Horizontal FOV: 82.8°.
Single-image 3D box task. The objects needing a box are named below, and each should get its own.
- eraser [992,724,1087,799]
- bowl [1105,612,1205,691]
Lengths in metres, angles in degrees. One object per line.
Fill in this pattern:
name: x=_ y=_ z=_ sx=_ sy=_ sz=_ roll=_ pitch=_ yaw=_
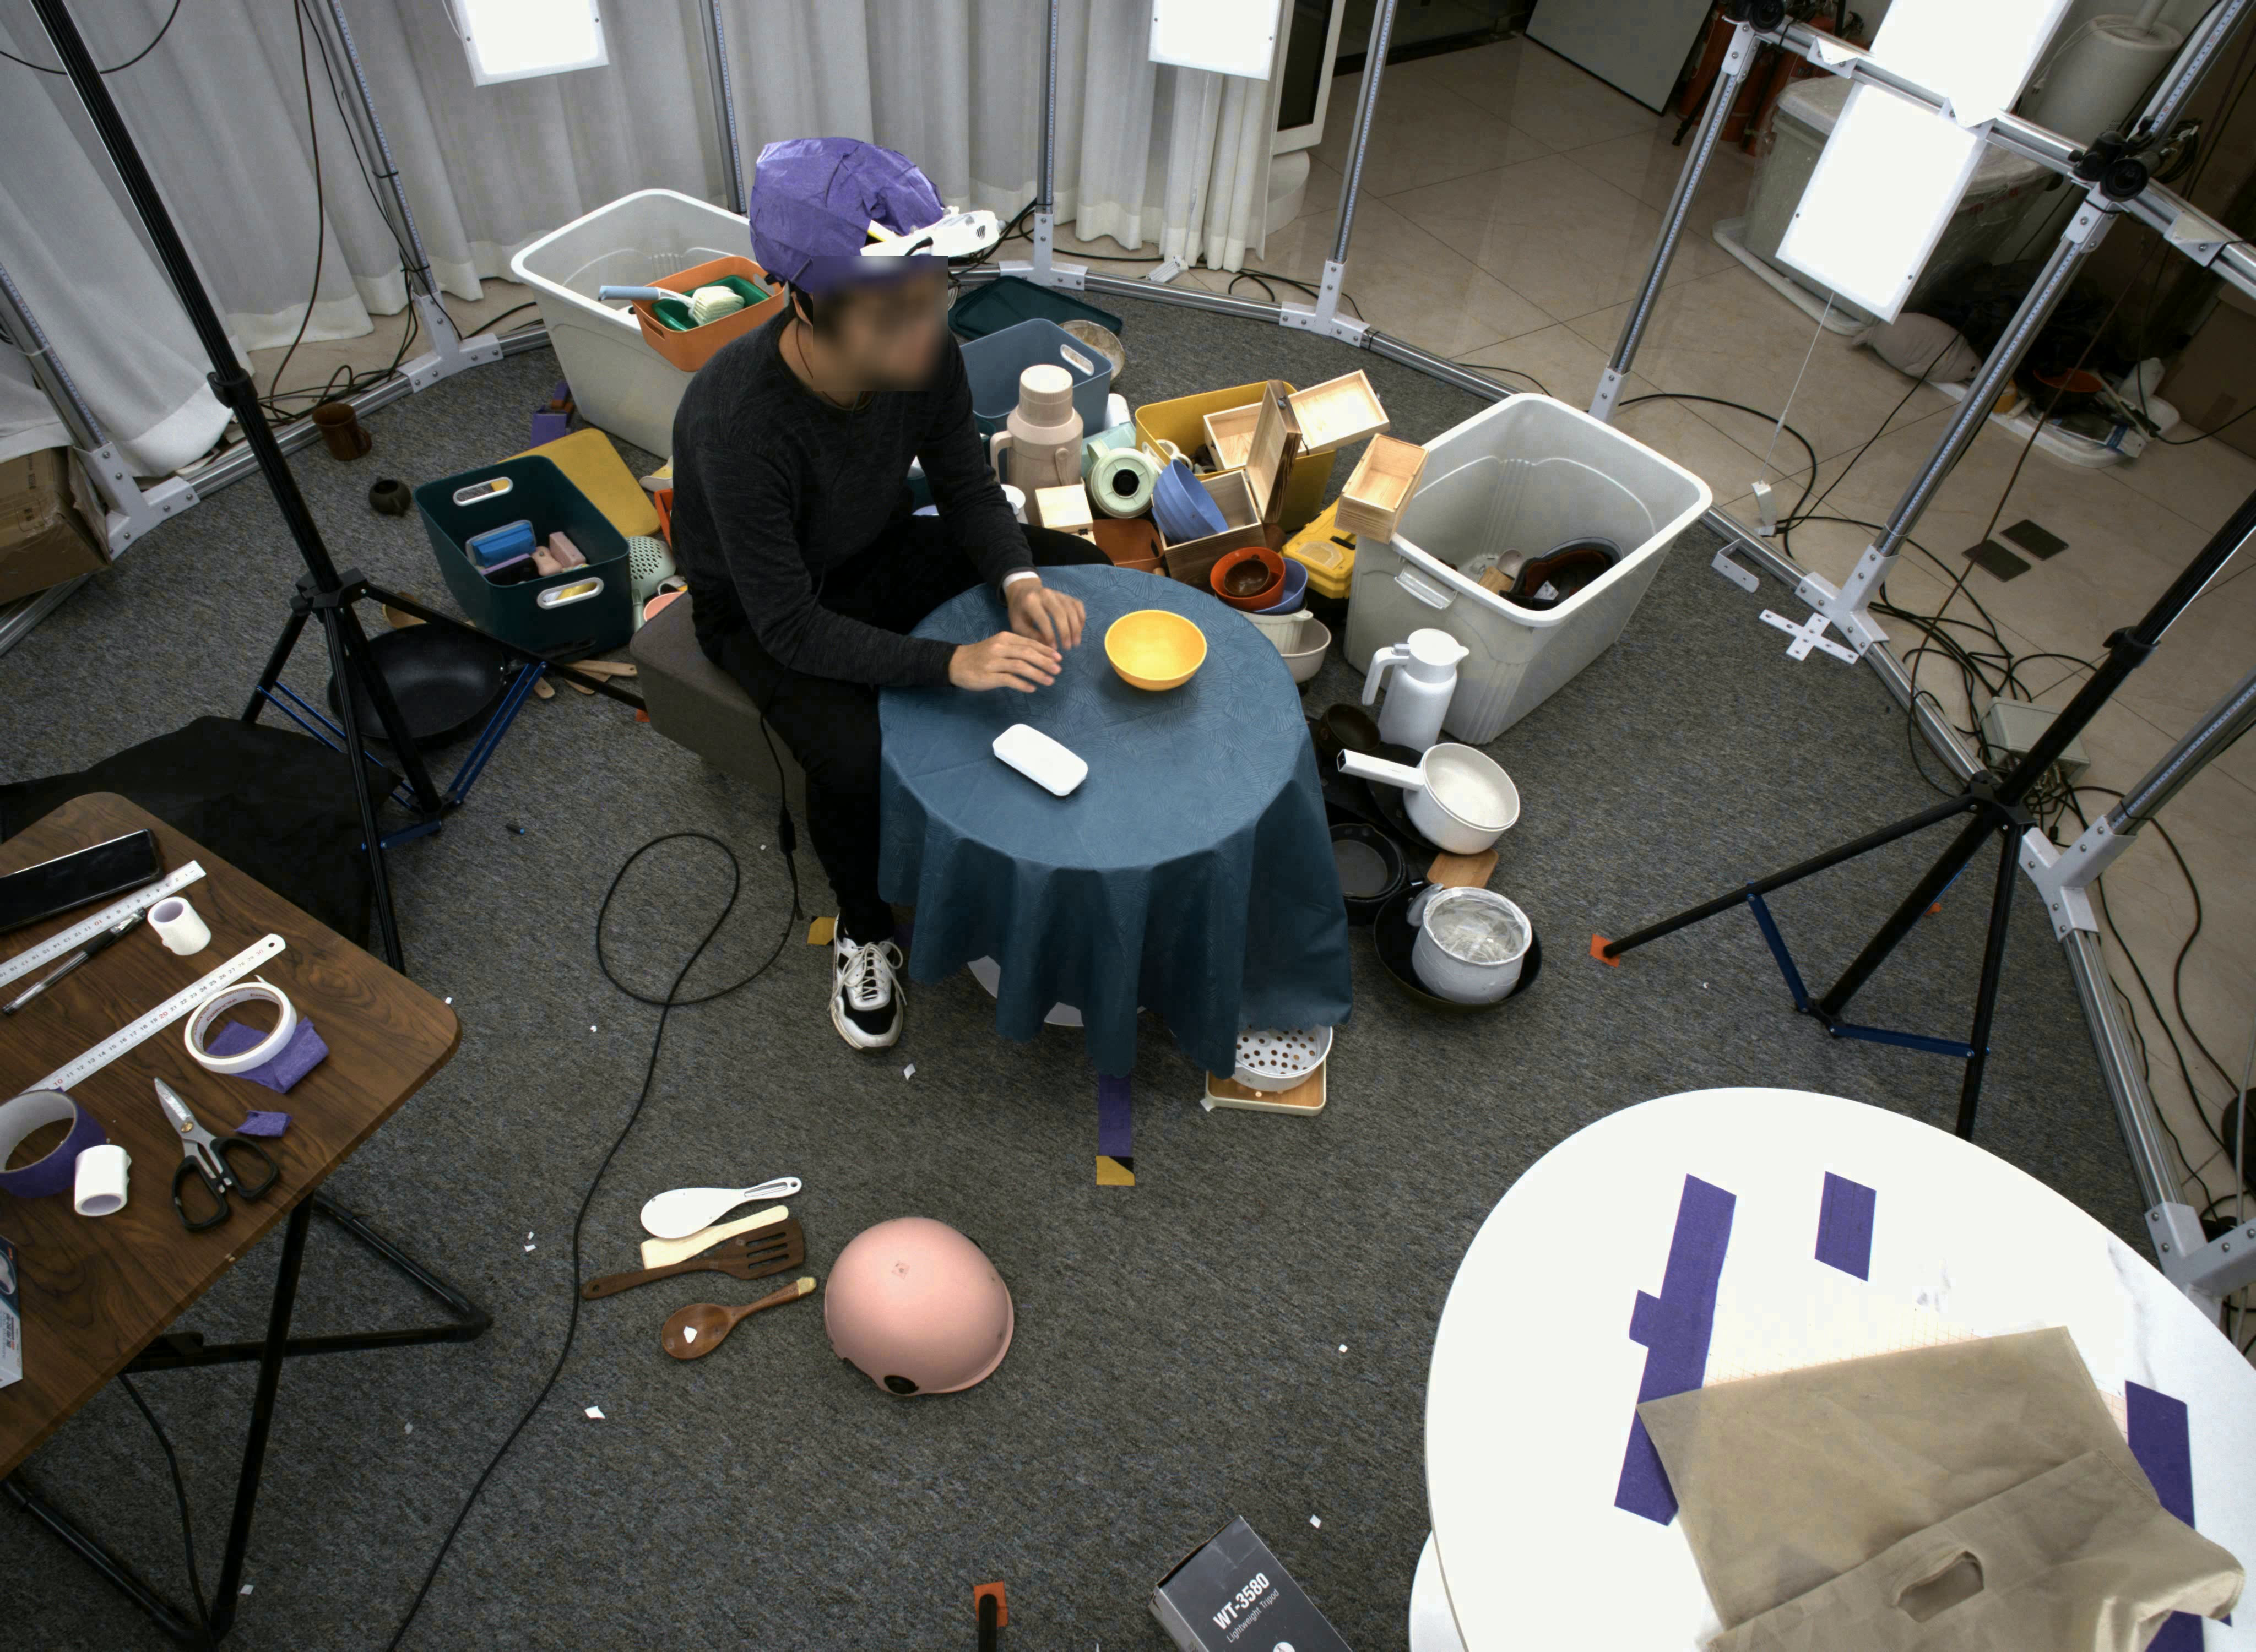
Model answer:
eraser: x=-0.119 y=-0.089 z=1.720 sx=0.133 sy=0.034 sz=0.064 roll=34 pitch=54 yaw=22
bowl: x=0.036 y=-0.239 z=1.842 sx=0.145 sy=0.058 sz=0.149 roll=2 pitch=48 yaw=-3
